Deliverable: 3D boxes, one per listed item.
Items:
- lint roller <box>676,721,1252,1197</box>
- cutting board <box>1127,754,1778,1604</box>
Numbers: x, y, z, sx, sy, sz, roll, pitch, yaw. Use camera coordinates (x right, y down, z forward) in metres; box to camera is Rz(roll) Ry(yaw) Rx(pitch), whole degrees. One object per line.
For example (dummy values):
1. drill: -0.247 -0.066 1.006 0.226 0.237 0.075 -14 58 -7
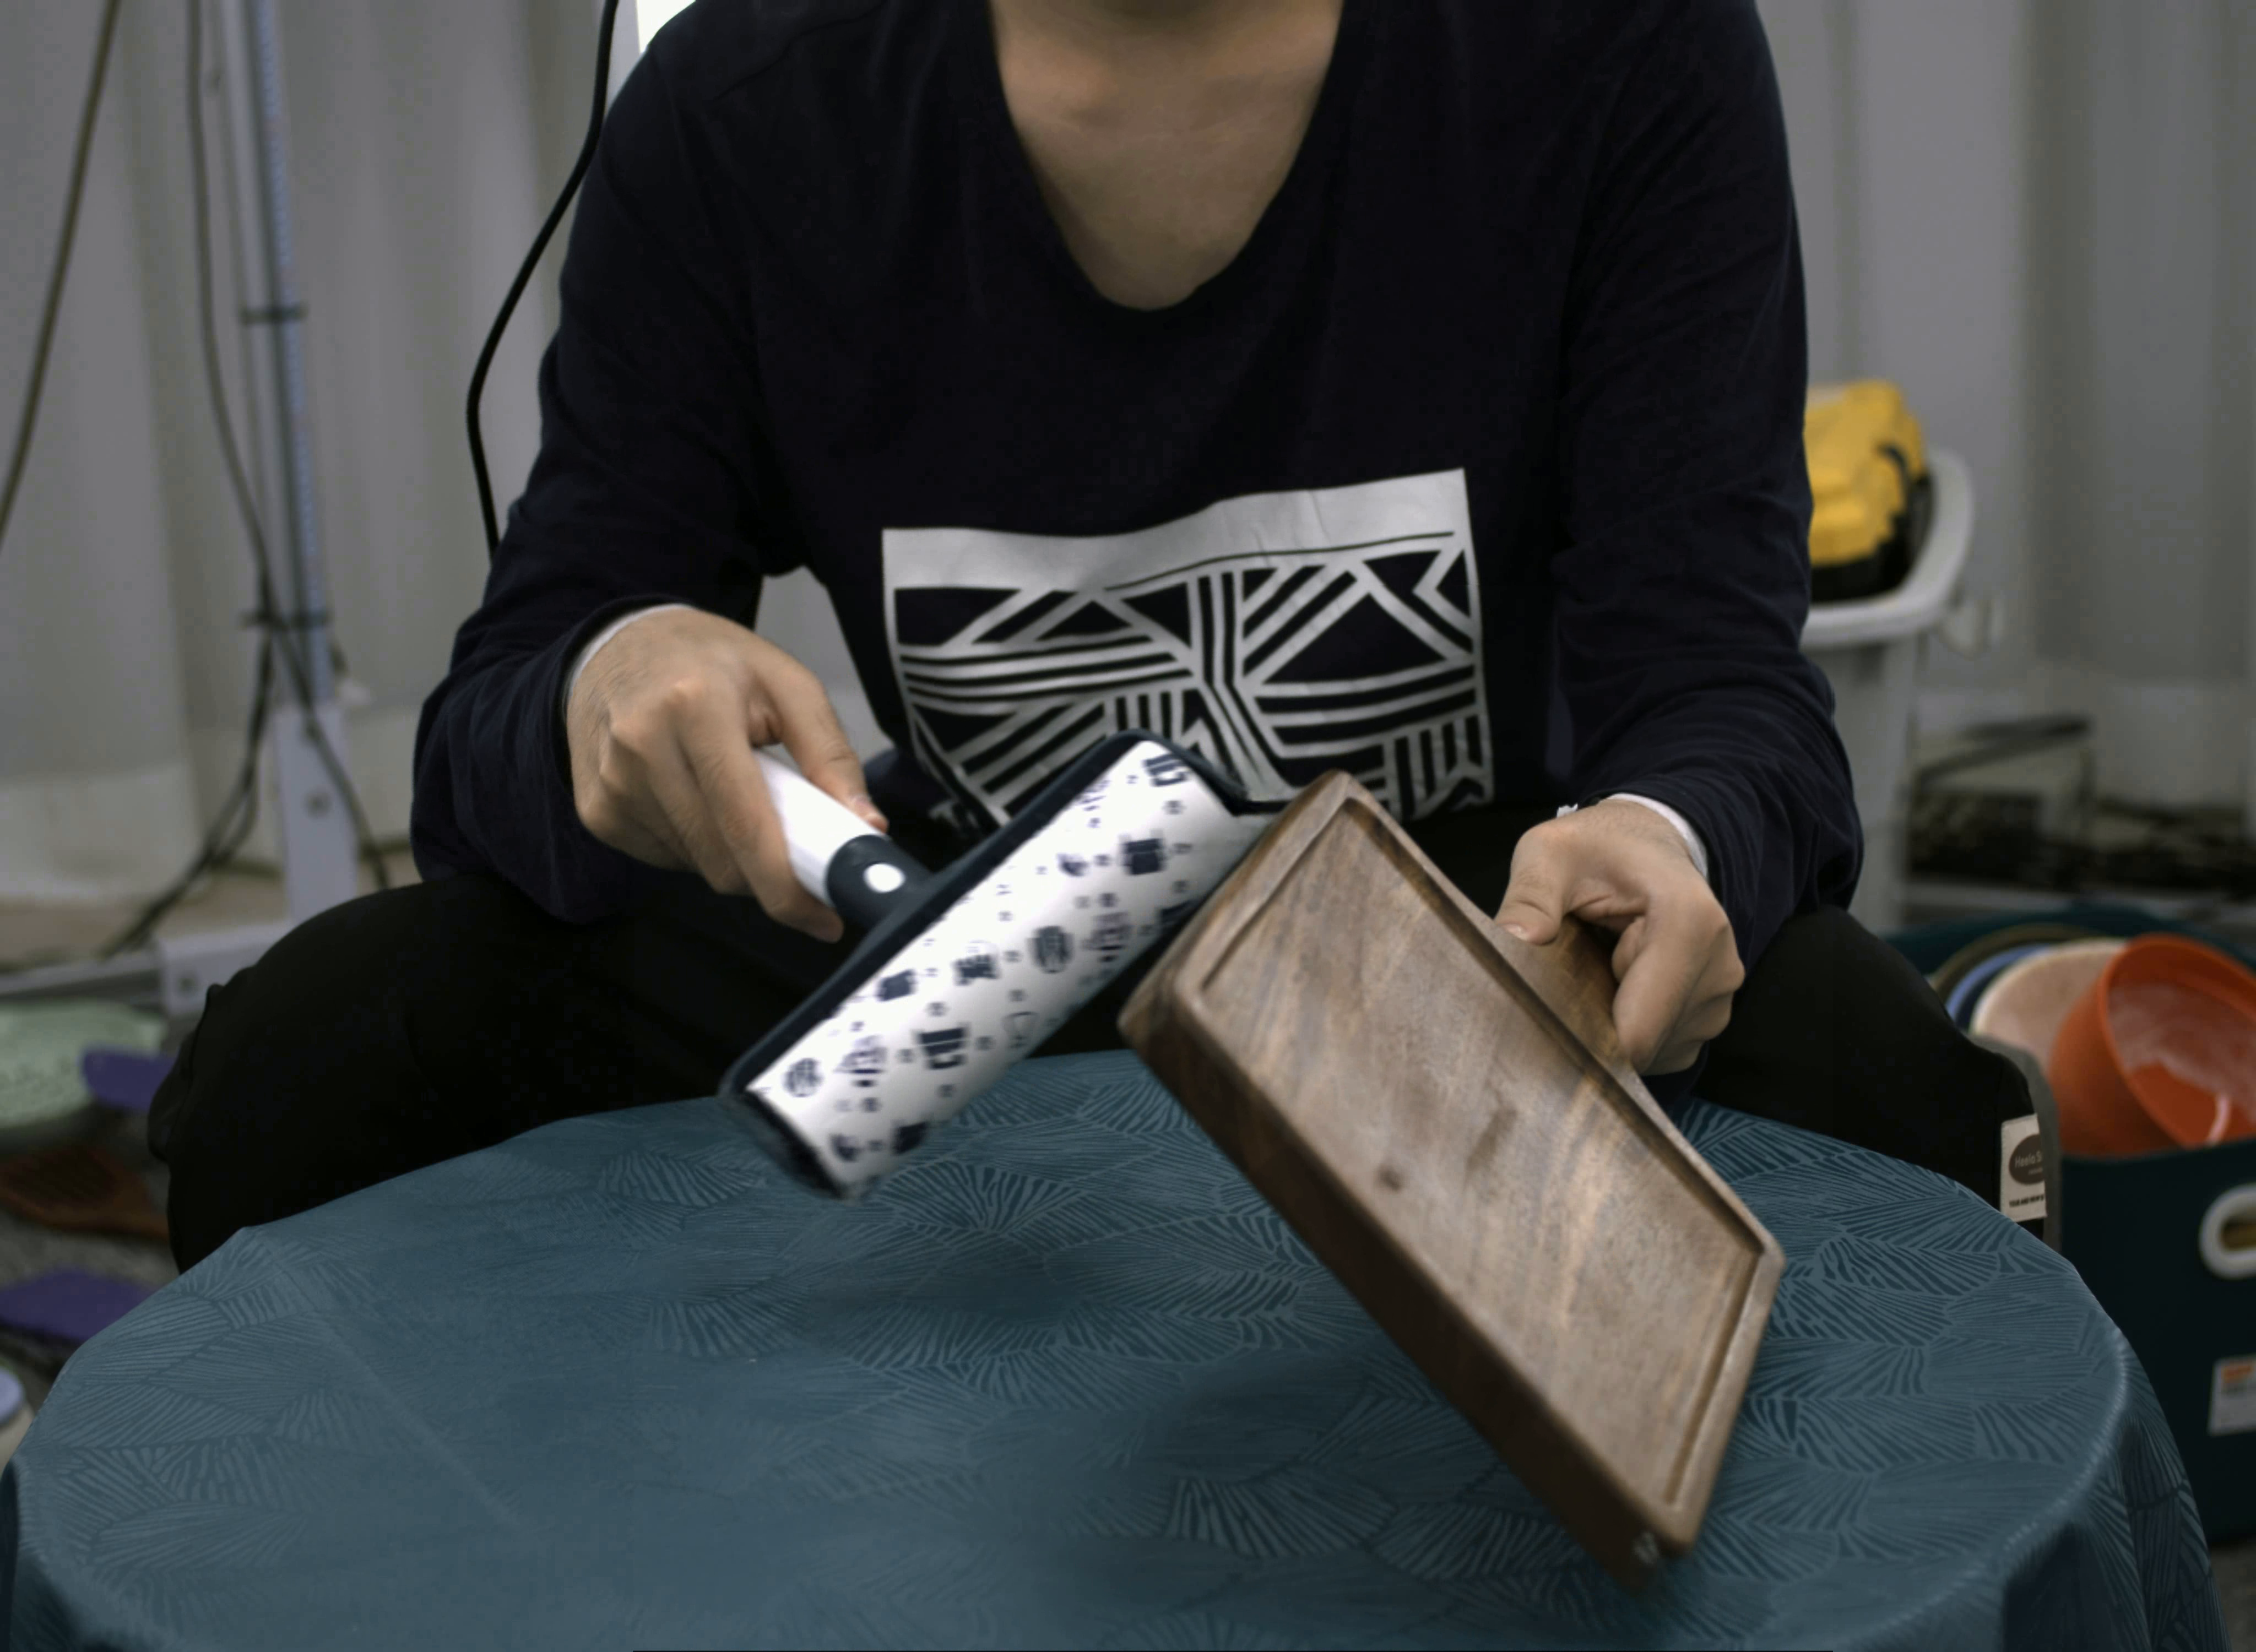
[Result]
1. lint roller: -0.087 0.011 1.717 0.177 0.050 0.249 -43 35 -13
2. cutting board: 0.104 0.075 1.509 0.023 0.201 0.353 -40 2 18
